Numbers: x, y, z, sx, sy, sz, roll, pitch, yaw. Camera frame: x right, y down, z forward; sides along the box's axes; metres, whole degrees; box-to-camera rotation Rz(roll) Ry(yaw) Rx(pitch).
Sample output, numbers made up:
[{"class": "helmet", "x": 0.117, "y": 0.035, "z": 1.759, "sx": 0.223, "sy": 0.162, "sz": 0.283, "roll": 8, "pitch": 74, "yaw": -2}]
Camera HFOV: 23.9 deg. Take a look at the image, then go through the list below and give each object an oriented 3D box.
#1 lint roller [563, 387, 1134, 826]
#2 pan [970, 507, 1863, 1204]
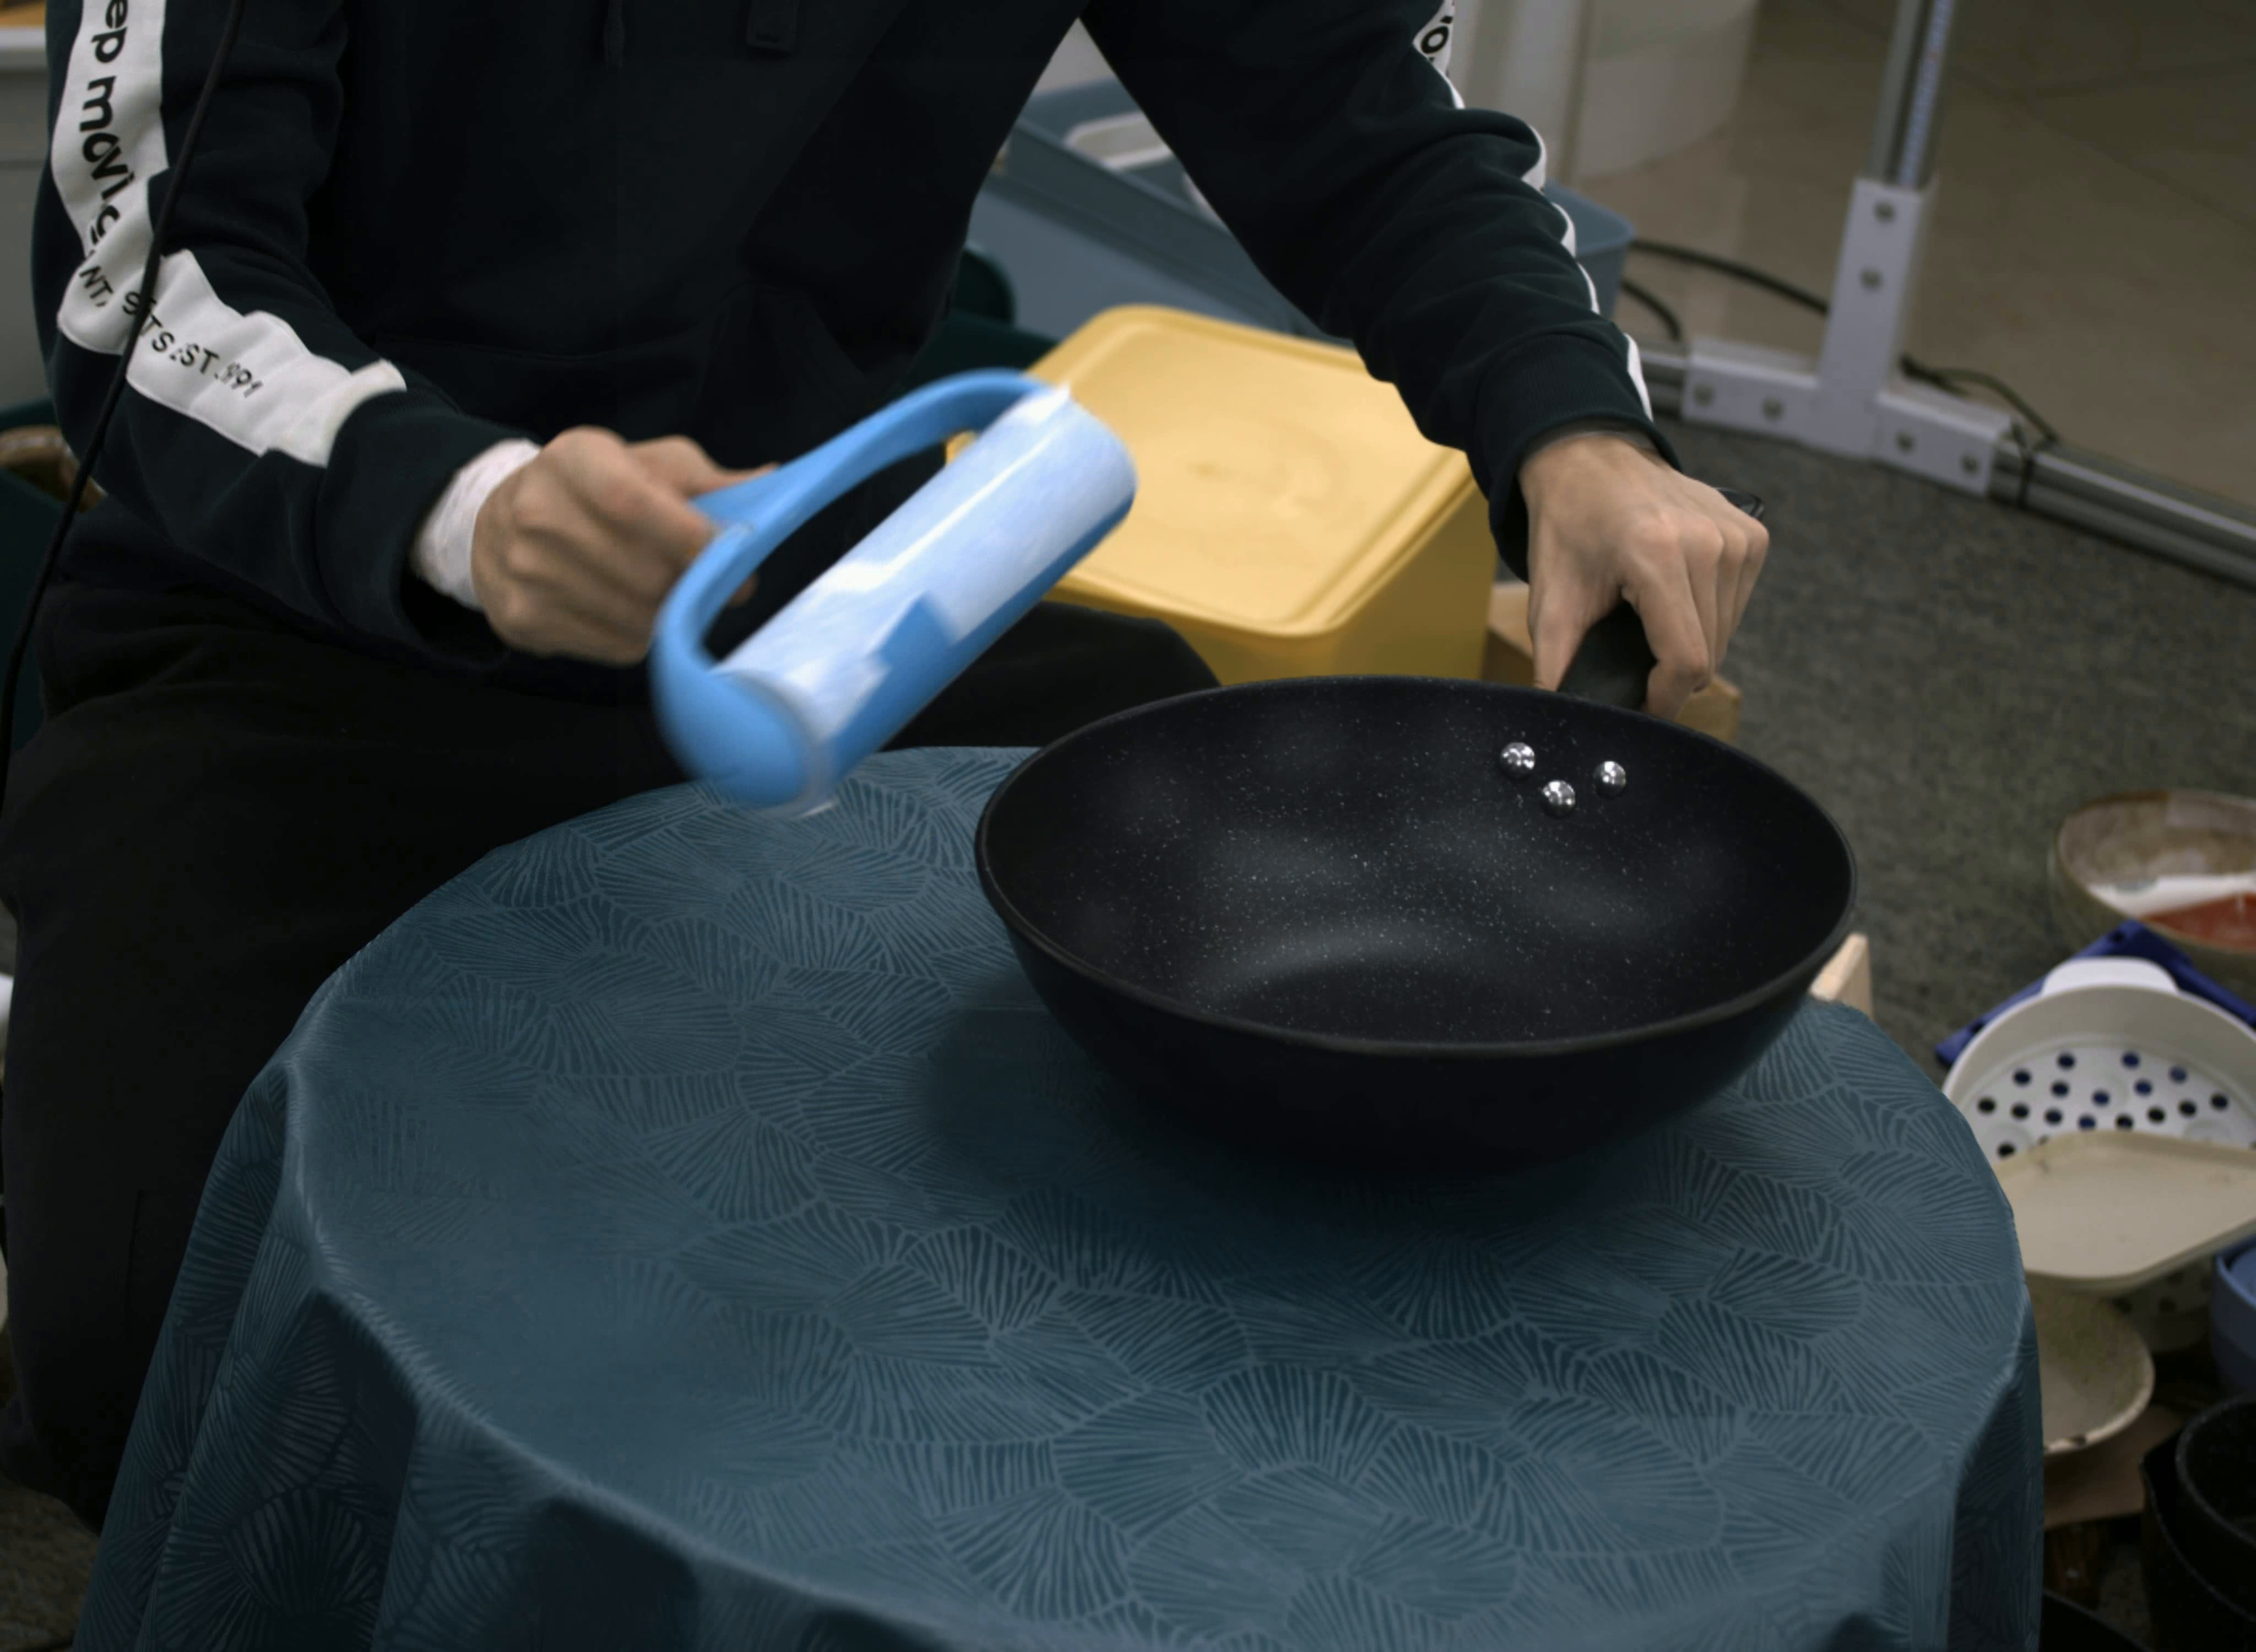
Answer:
[{"class": "lint roller", "x": -0.120, "y": -0.076, "z": 1.754, "sx": 0.181, "sy": 0.067, "sz": 0.229, "roll": 6, "pitch": 34, "yaw": 31}, {"class": "pan", "x": 0.134, "y": 0.011, "z": 1.922, "sx": 0.311, "sy": 0.111, "sz": 0.476, "roll": 14, "pitch": 27, "yaw": 22}]
